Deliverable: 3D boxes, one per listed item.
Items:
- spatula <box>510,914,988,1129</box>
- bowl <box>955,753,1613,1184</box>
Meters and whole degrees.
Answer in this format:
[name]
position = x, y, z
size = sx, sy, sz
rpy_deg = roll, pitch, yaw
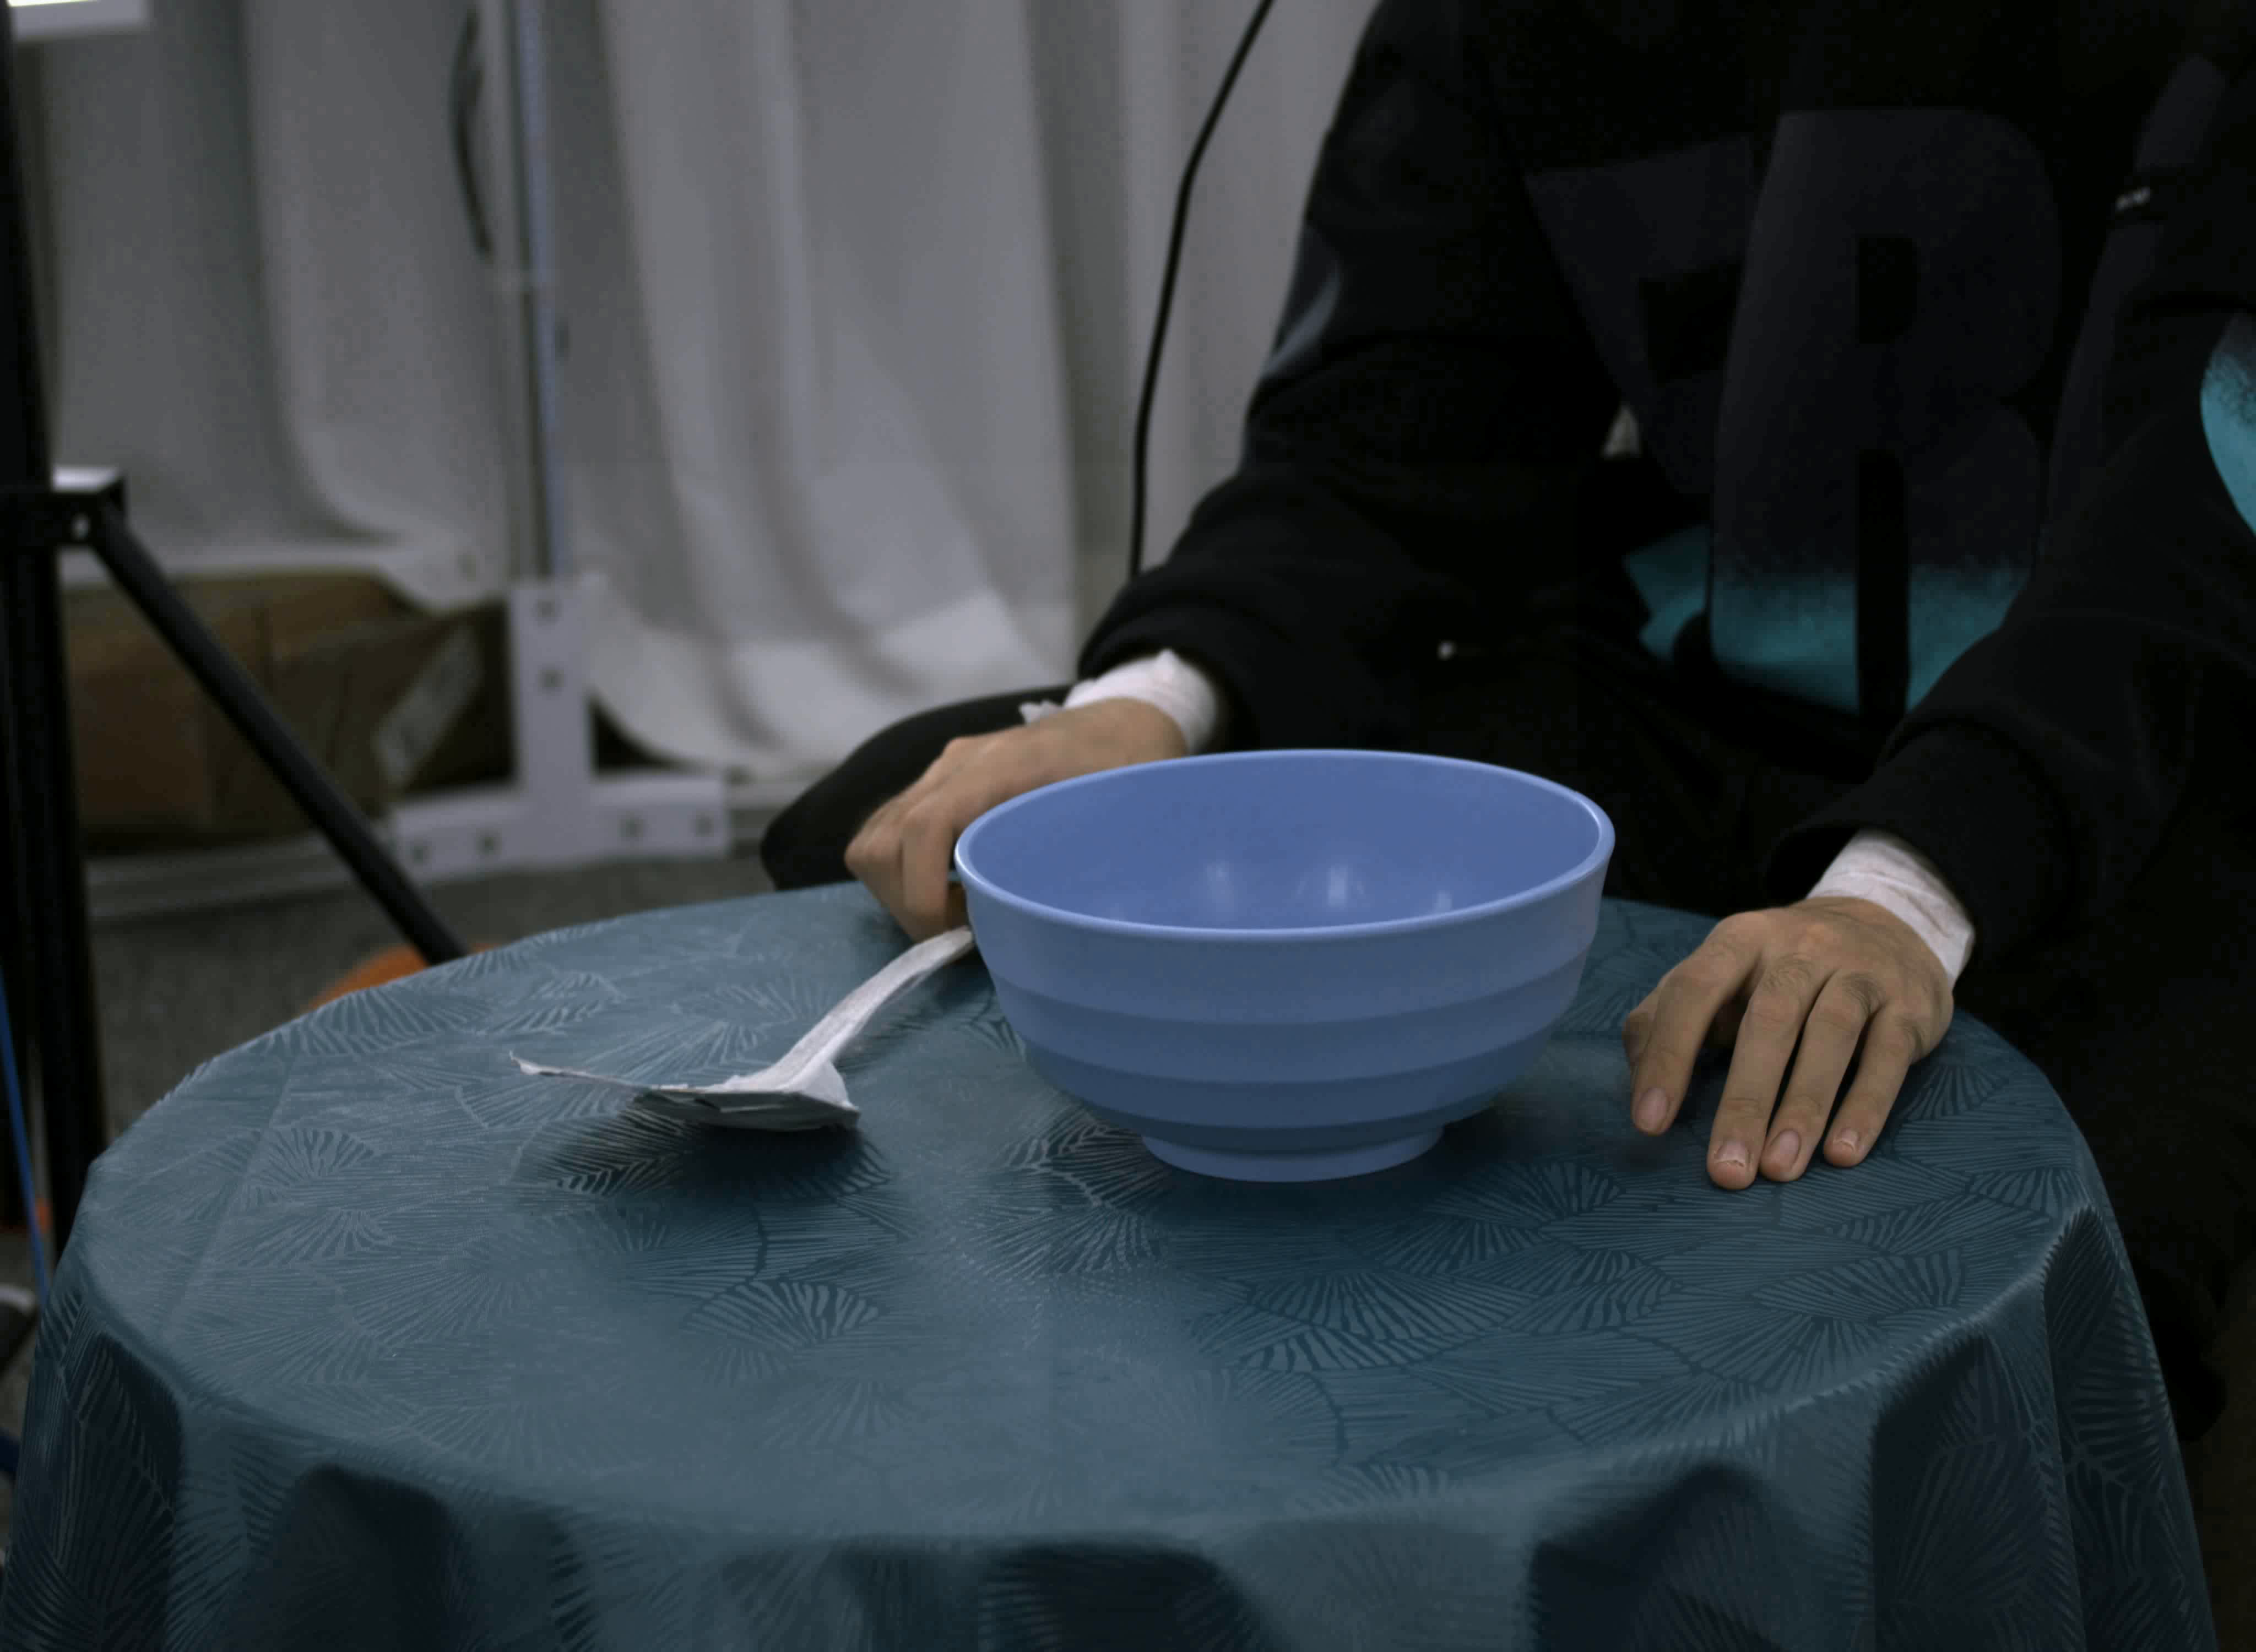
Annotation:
[spatula]
position = -0.071, 0.046, 1.719
size = 0.100, 0.045, 0.359
rpy_deg = 3, 17, 26
[bowl]
position = 0.049, 0.048, 1.590
size = 0.195, 0.095, 0.197
rpy_deg = -4, 15, 0
